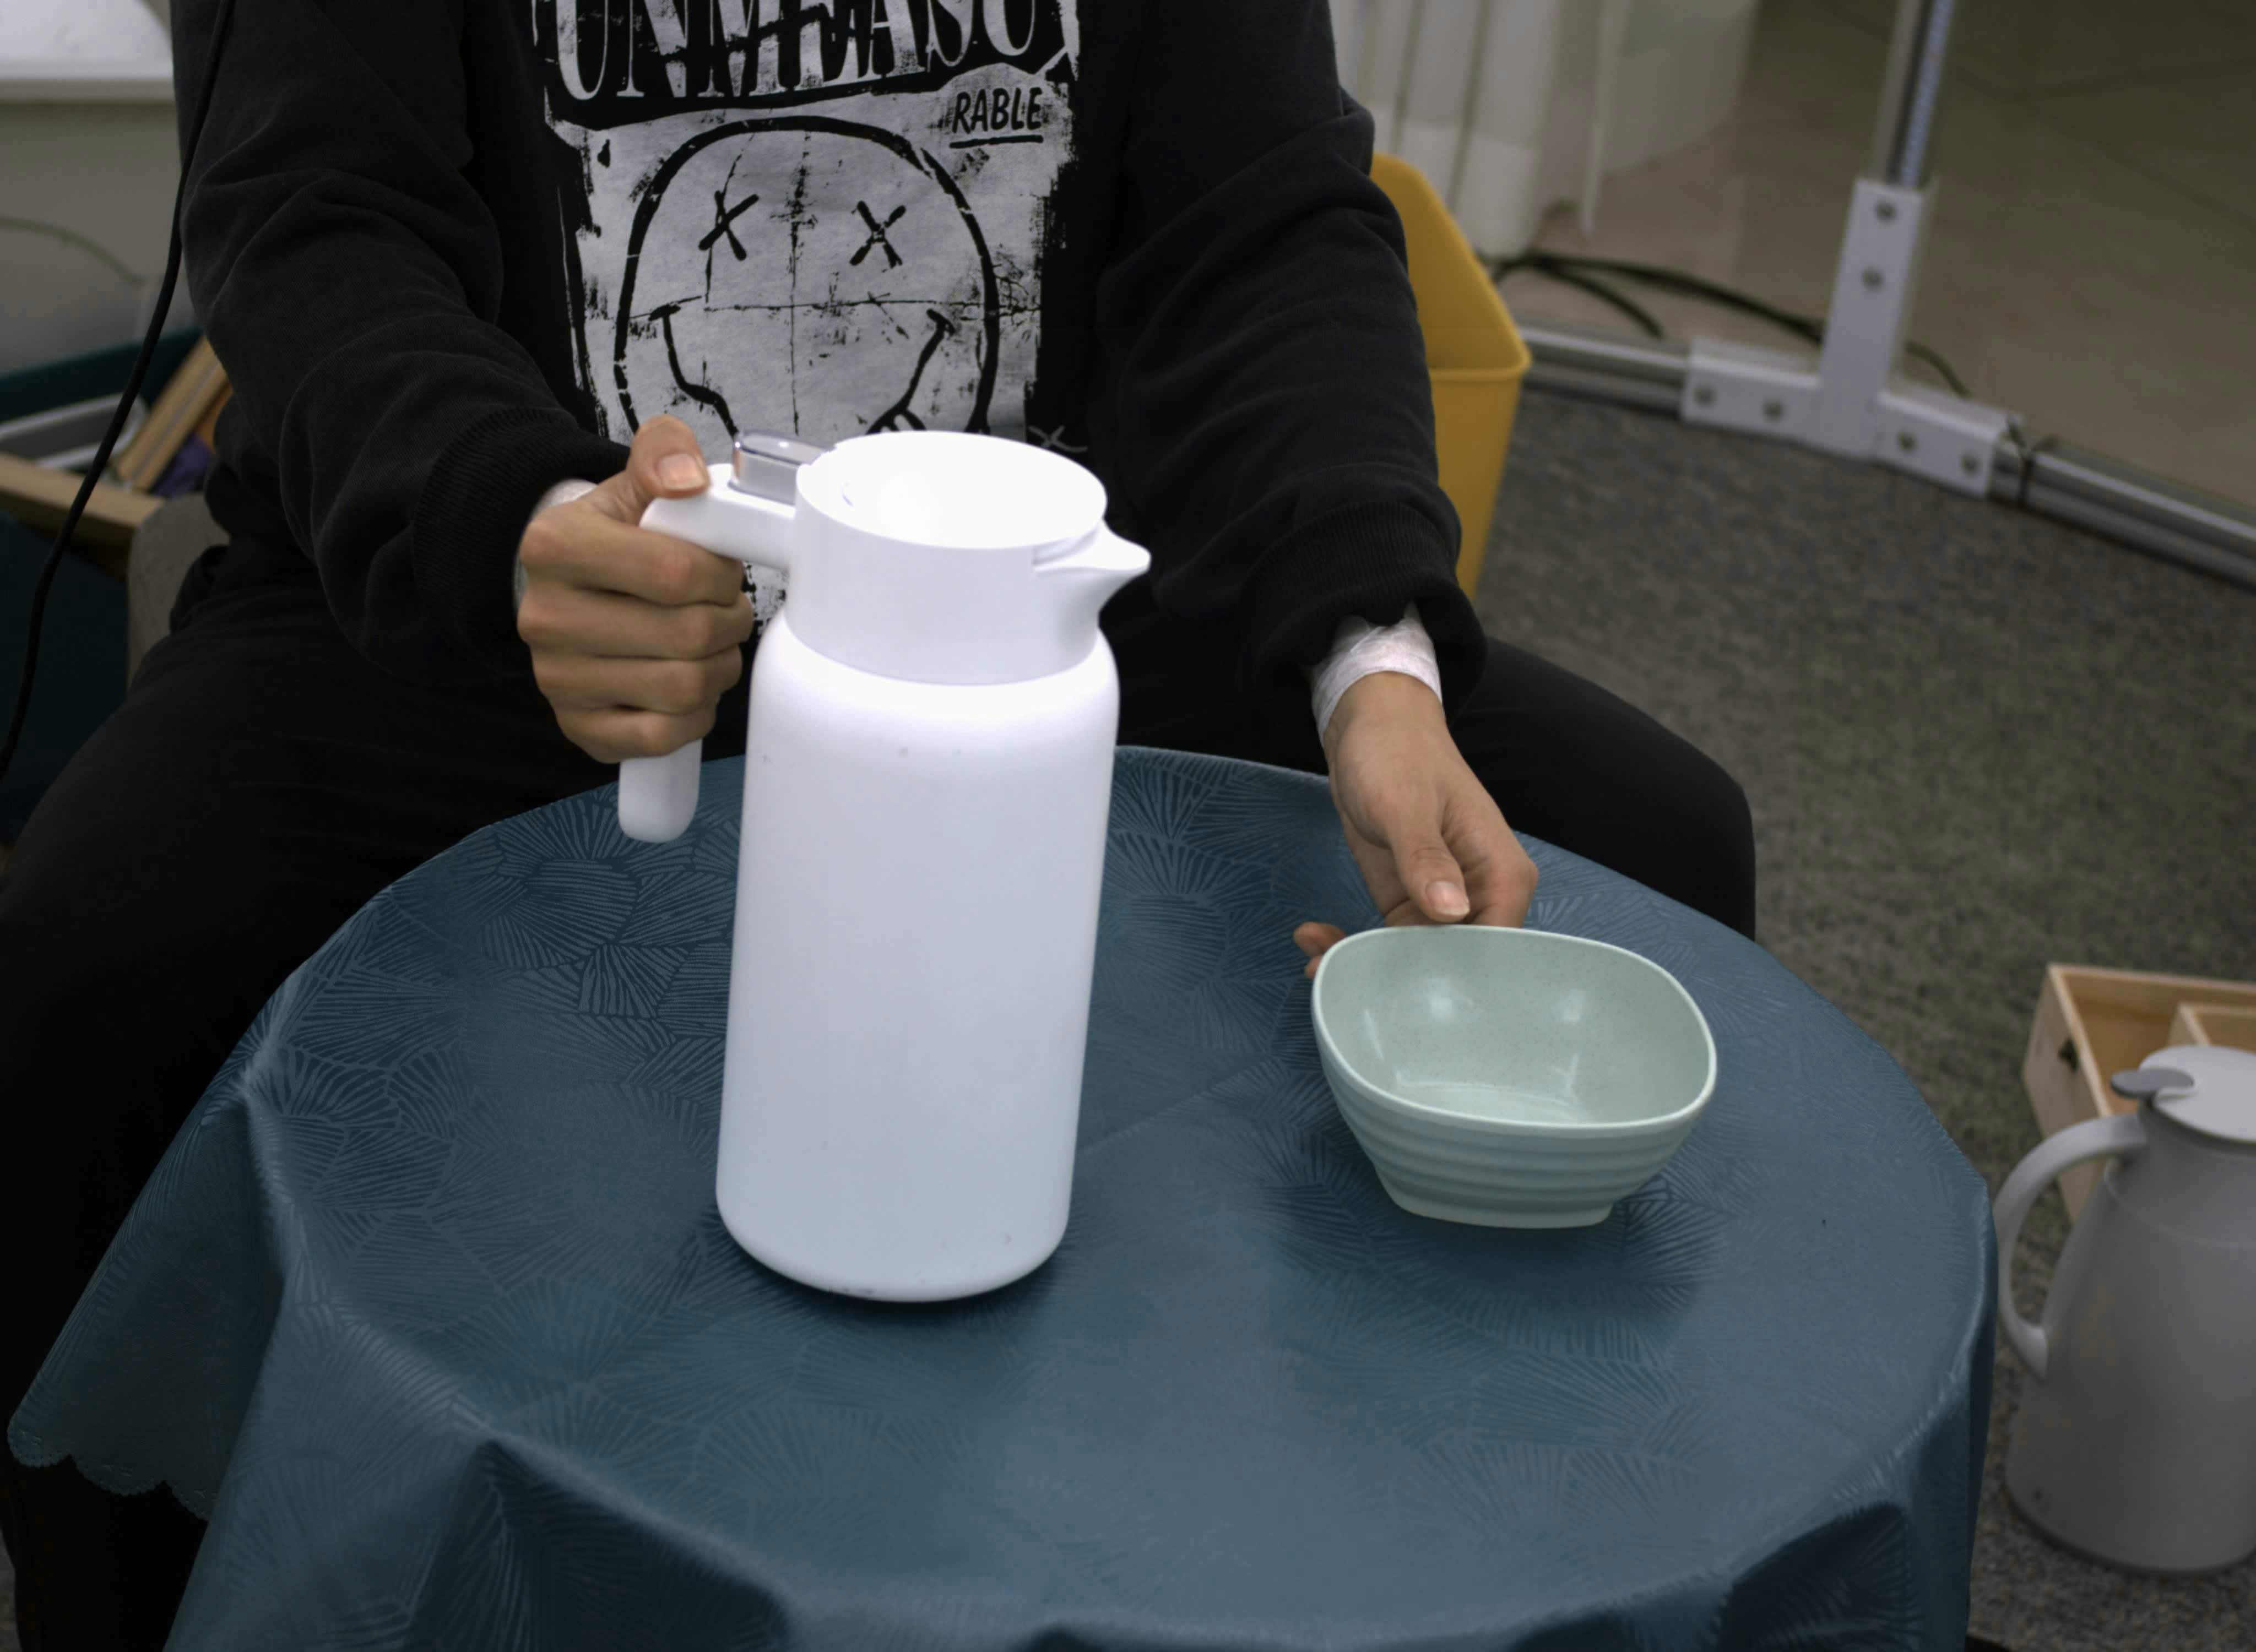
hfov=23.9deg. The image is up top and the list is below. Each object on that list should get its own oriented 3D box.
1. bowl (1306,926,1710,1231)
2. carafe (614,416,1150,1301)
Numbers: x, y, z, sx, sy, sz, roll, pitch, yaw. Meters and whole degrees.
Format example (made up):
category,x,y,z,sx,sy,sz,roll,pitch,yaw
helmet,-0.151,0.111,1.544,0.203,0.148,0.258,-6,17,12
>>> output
category,x,y,z,sx,sy,sz,roll,pitch,yaw
bowl,0.127,0.093,1.834,0.151,0.058,0.152,6,27,-3
carafe,-0.085,0.008,1.716,0.173,0.268,0.124,14,27,19
